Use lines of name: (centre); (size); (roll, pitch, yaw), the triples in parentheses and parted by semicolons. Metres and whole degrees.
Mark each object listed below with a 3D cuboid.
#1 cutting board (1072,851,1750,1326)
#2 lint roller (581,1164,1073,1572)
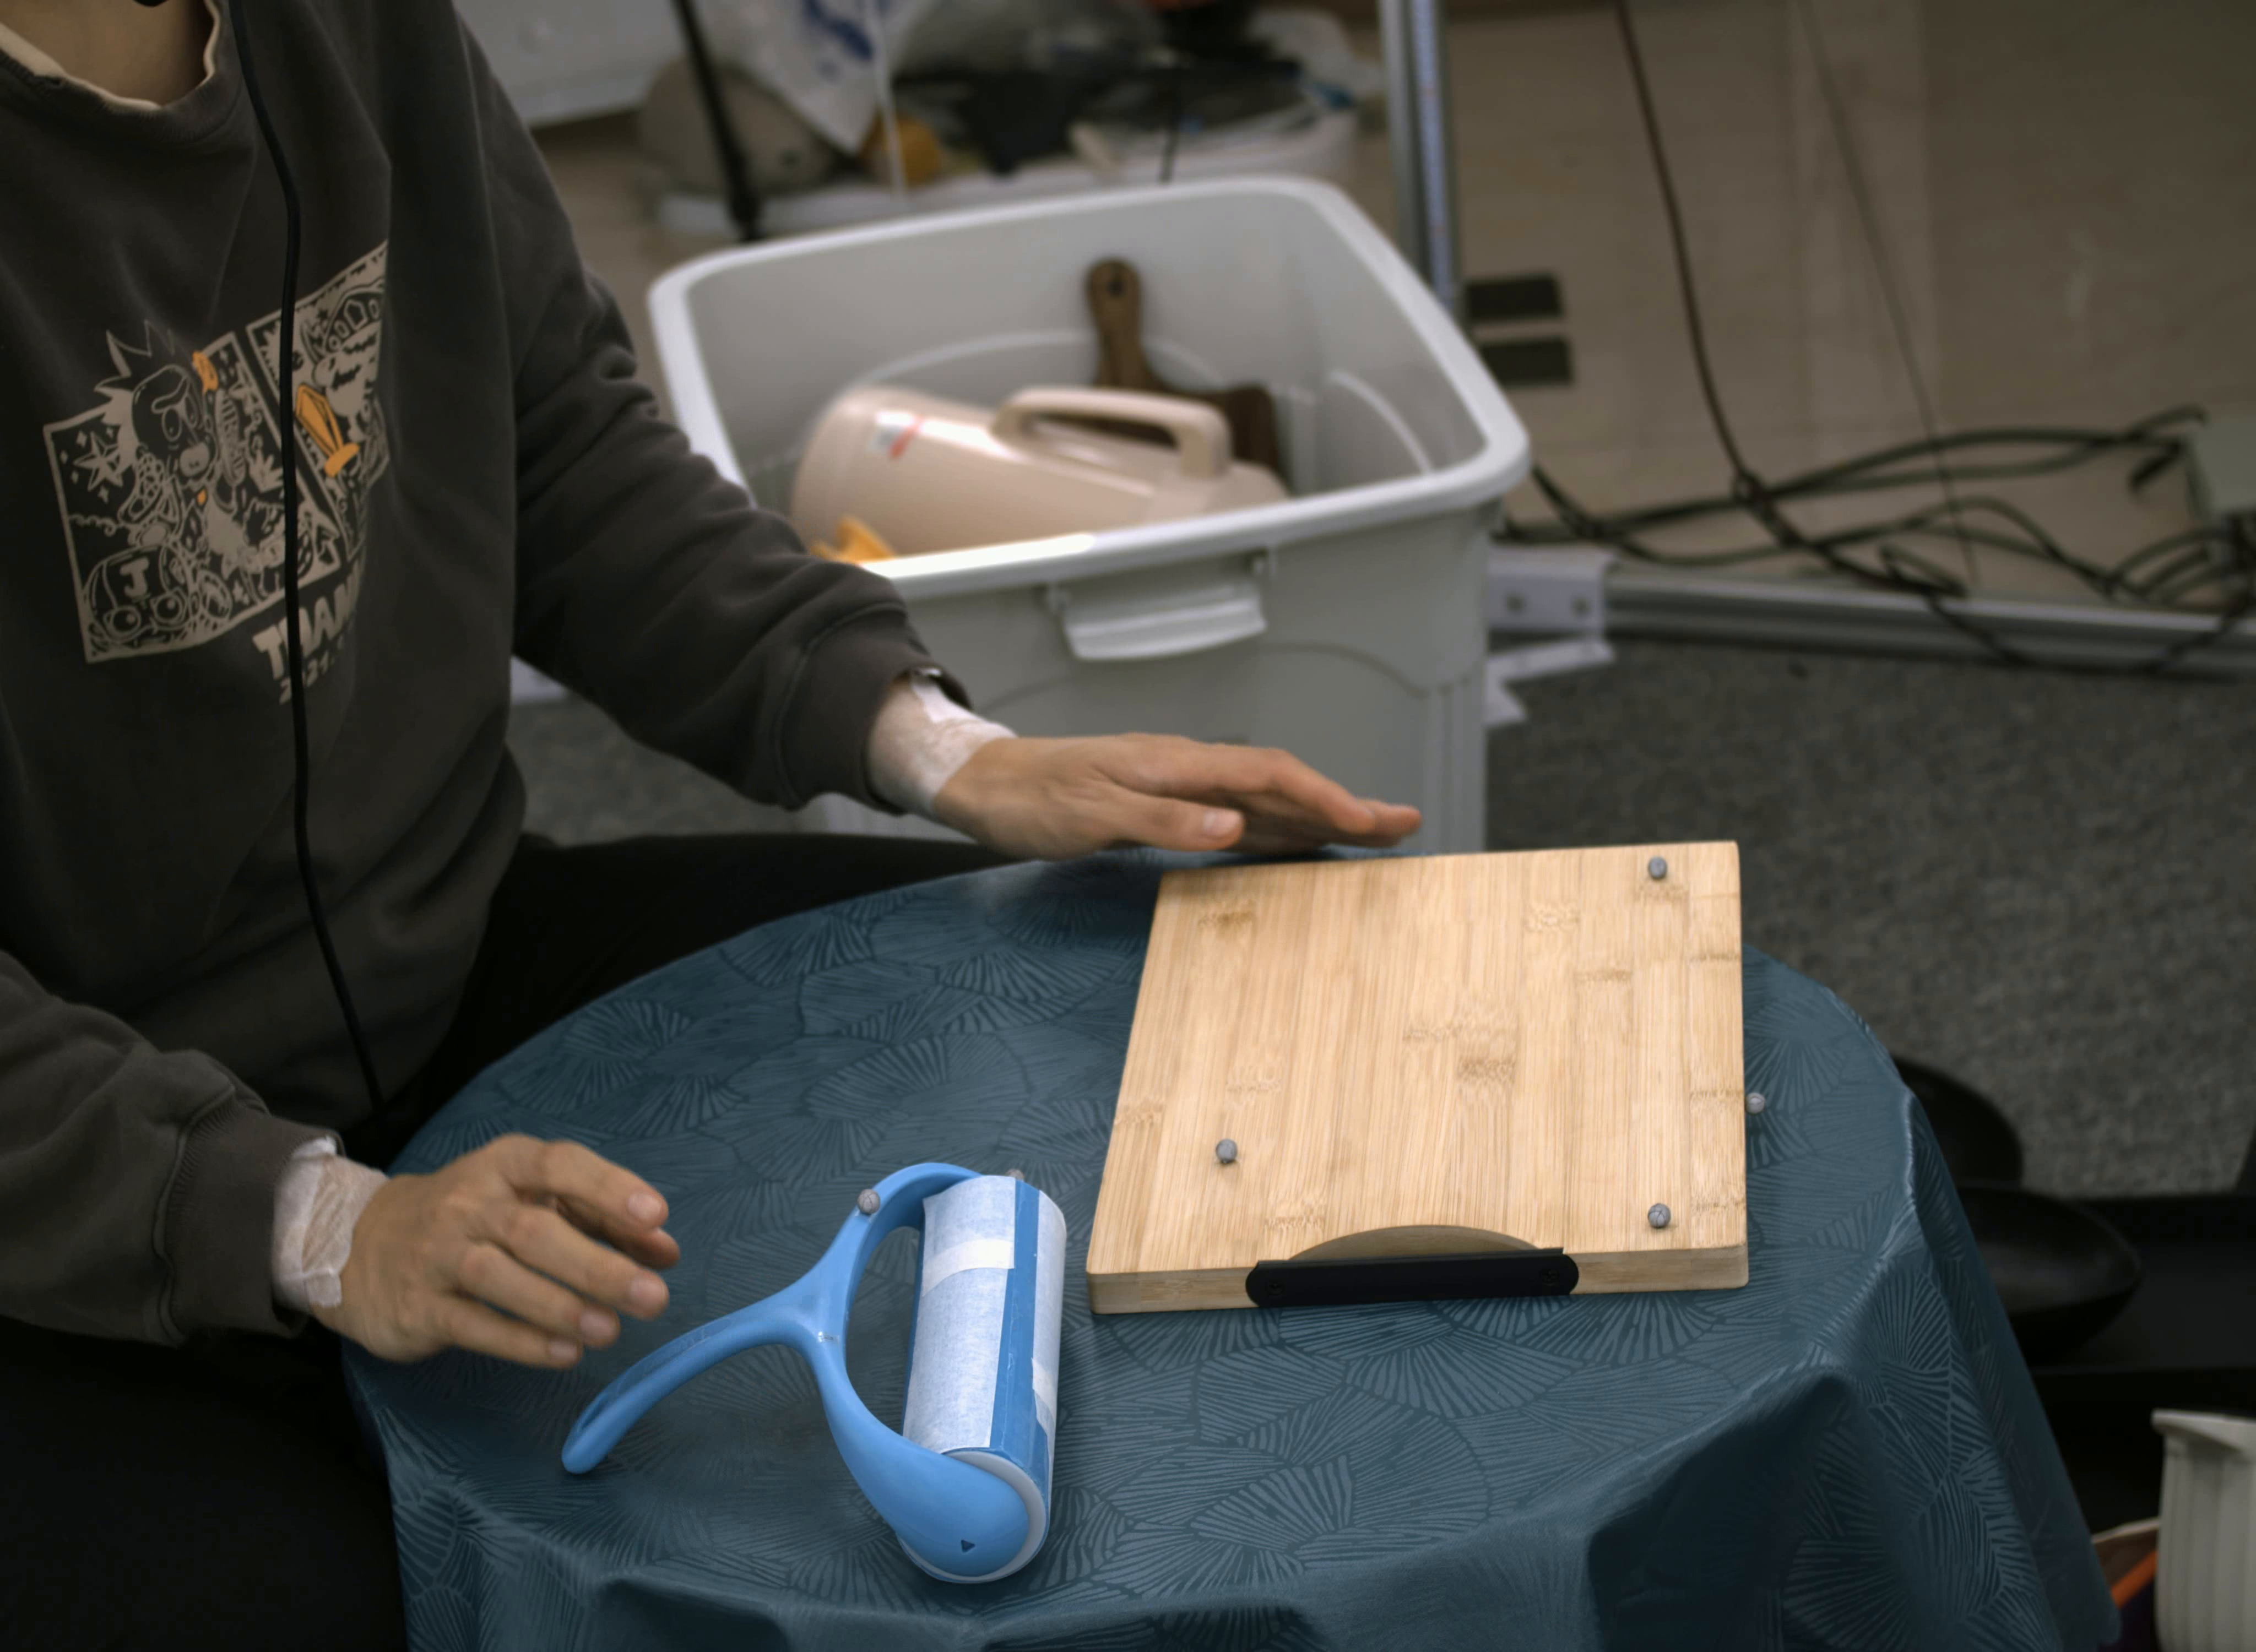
cutting board: (0.117, 0.095, 2.192); (0.250, 0.024, 0.343); (-4, 25, 7)
lint roller: (-0.106, 0.194, 1.985); (0.180, 0.069, 0.225); (-6, 26, 0)
